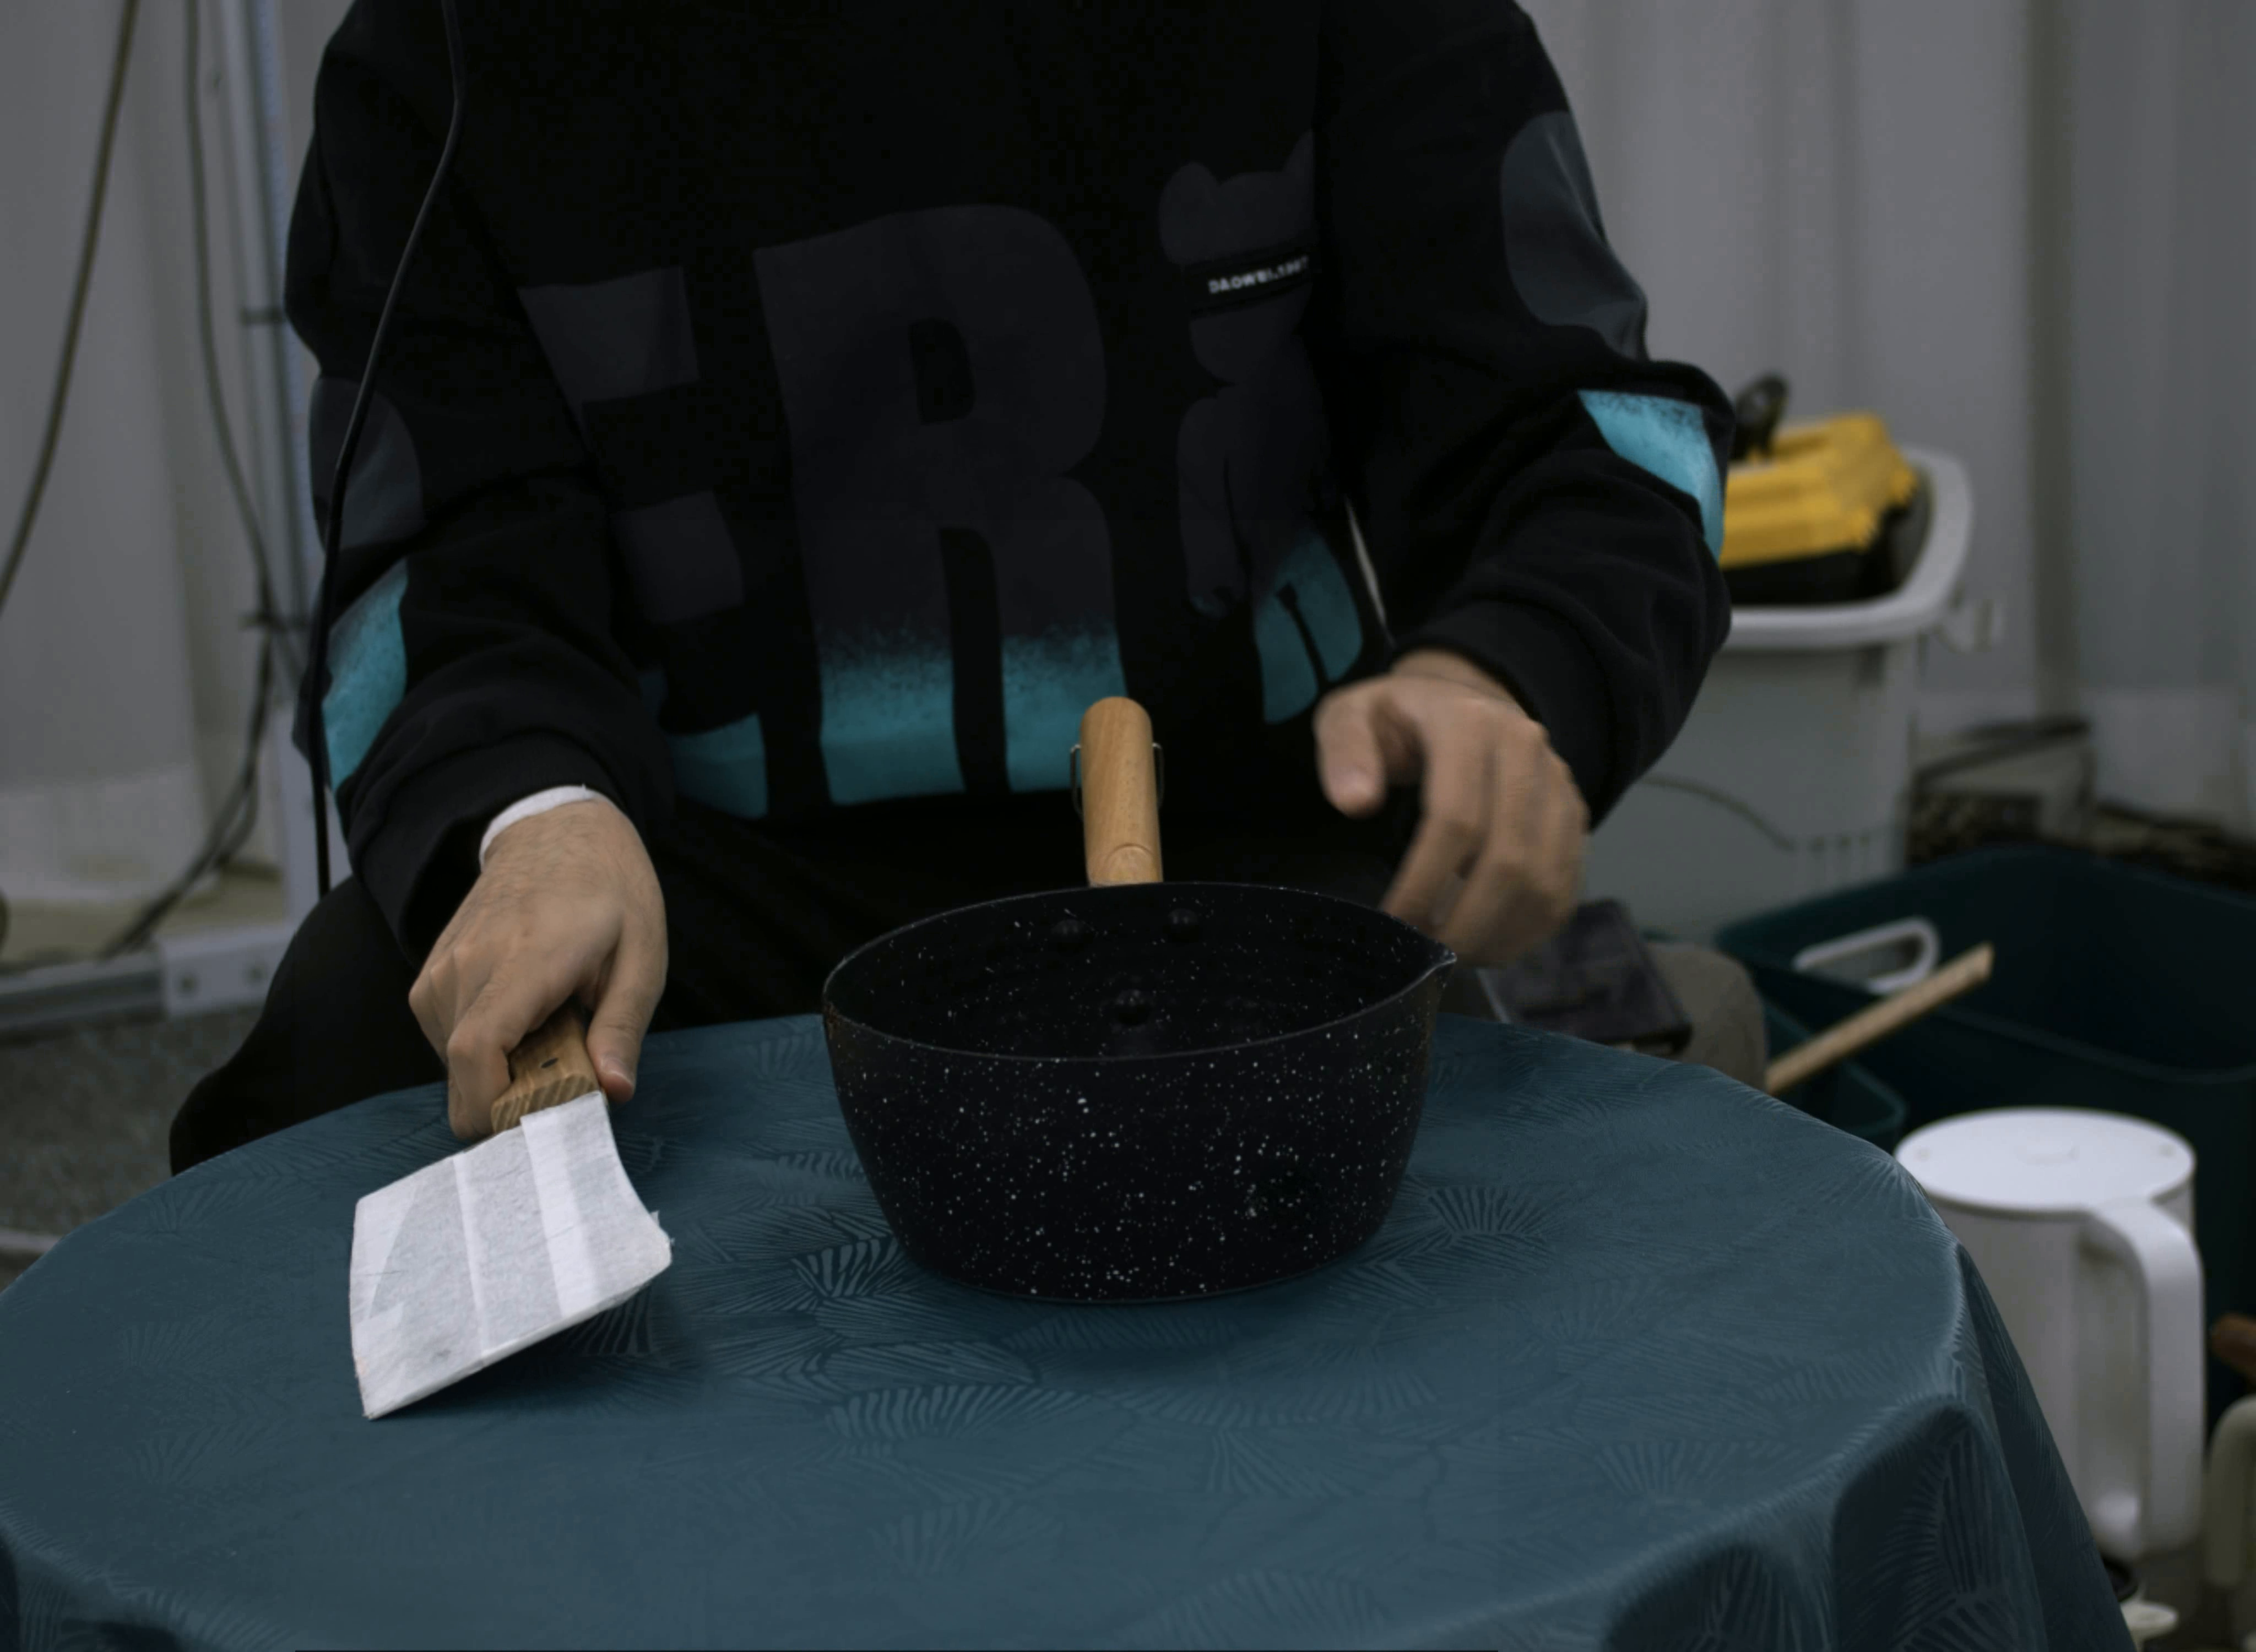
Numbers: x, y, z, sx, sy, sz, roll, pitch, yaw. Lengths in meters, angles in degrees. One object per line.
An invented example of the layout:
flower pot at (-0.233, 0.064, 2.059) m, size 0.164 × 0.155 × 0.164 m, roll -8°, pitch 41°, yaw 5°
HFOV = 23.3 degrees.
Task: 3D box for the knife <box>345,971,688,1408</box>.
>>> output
knife at (-0.192, 0.106, 1.704) m, size 0.113 × 0.021 × 0.318 m, roll -23°, pitch 18°, yaw 1°

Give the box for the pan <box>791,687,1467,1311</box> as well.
pan at (-0.002, 0.050, 1.745) m, size 0.207 × 0.108 × 0.345 m, roll -5°, pitch 16°, yaw -1°
